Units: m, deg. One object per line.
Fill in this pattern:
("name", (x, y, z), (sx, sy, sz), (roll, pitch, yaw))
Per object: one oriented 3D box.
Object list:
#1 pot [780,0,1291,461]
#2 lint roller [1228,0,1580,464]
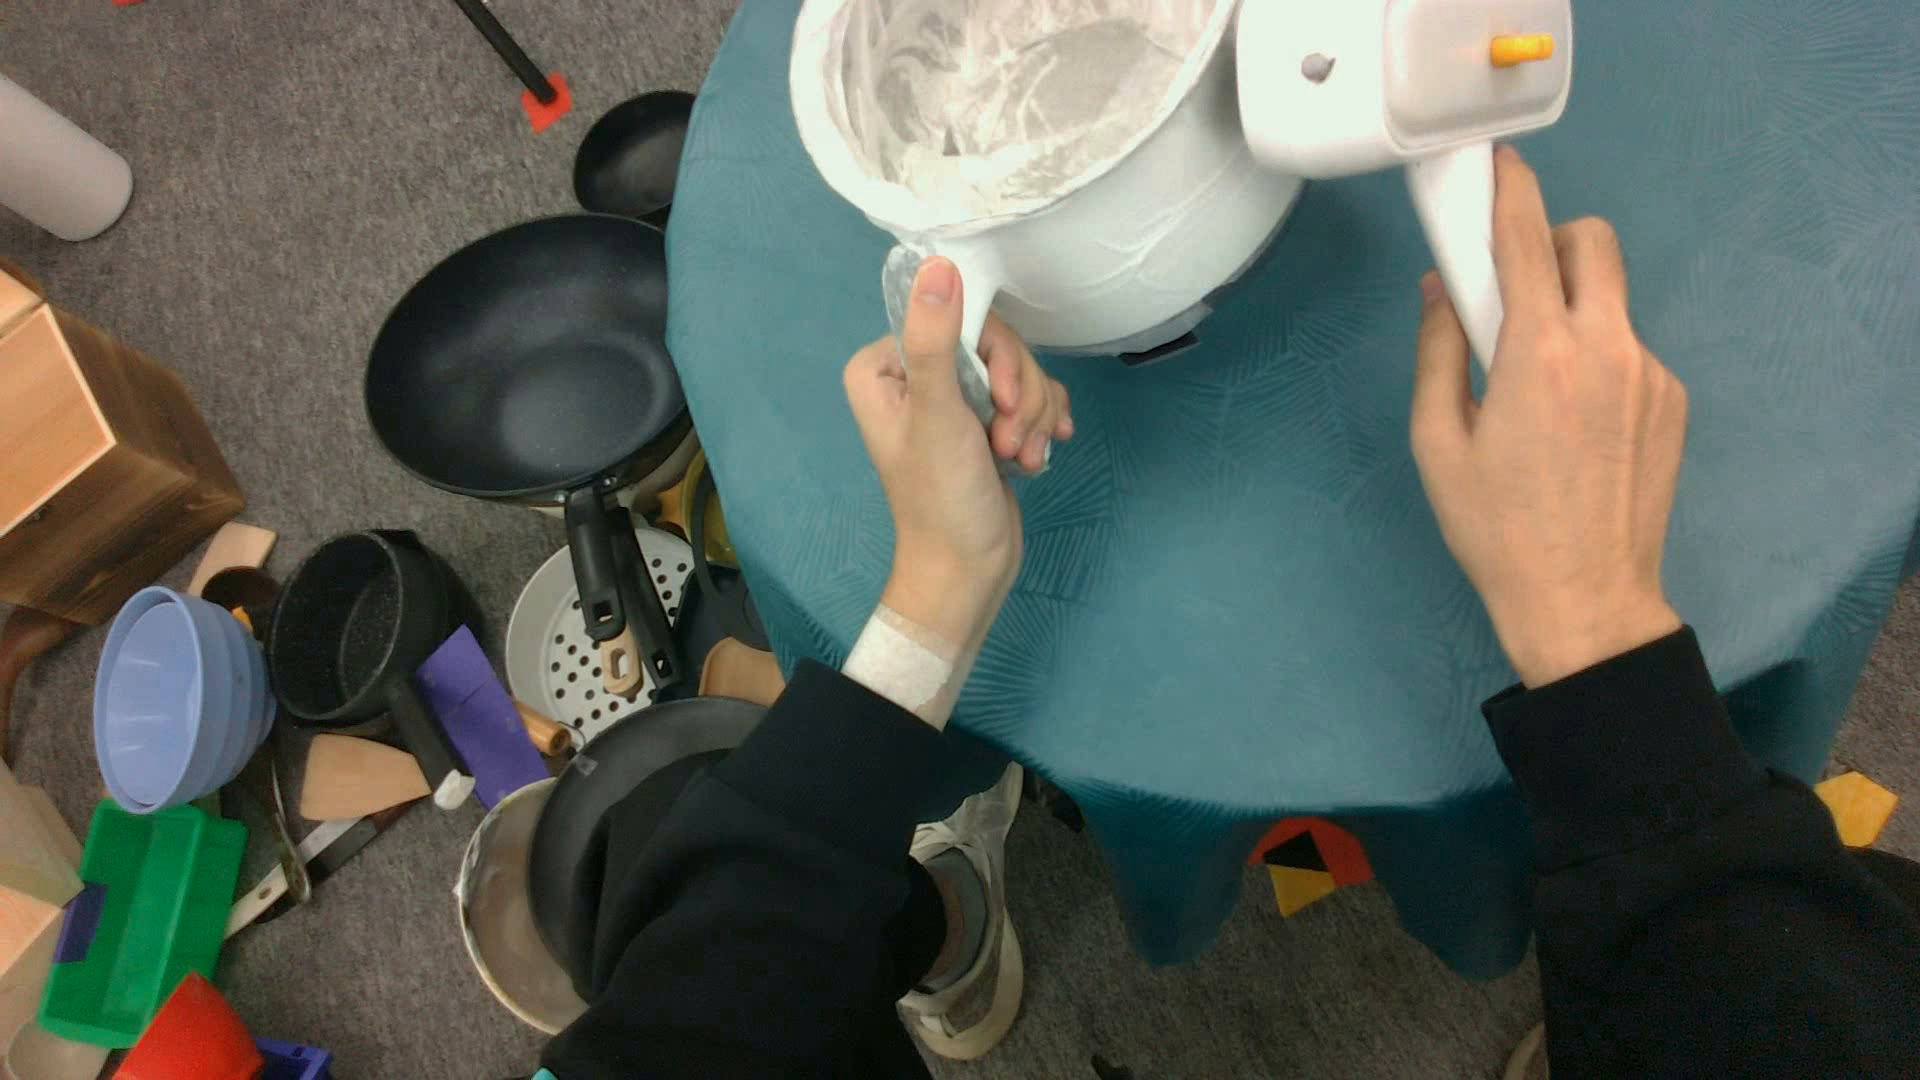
("pot", (0.030, -0.153, 0.534), (0.178, 0.136, 0.234), (13, 79, 33))
("lint roller", (0.174, -0.117, 0.489), (0.074, 0.194, 0.192), (-5, 108, 37))
